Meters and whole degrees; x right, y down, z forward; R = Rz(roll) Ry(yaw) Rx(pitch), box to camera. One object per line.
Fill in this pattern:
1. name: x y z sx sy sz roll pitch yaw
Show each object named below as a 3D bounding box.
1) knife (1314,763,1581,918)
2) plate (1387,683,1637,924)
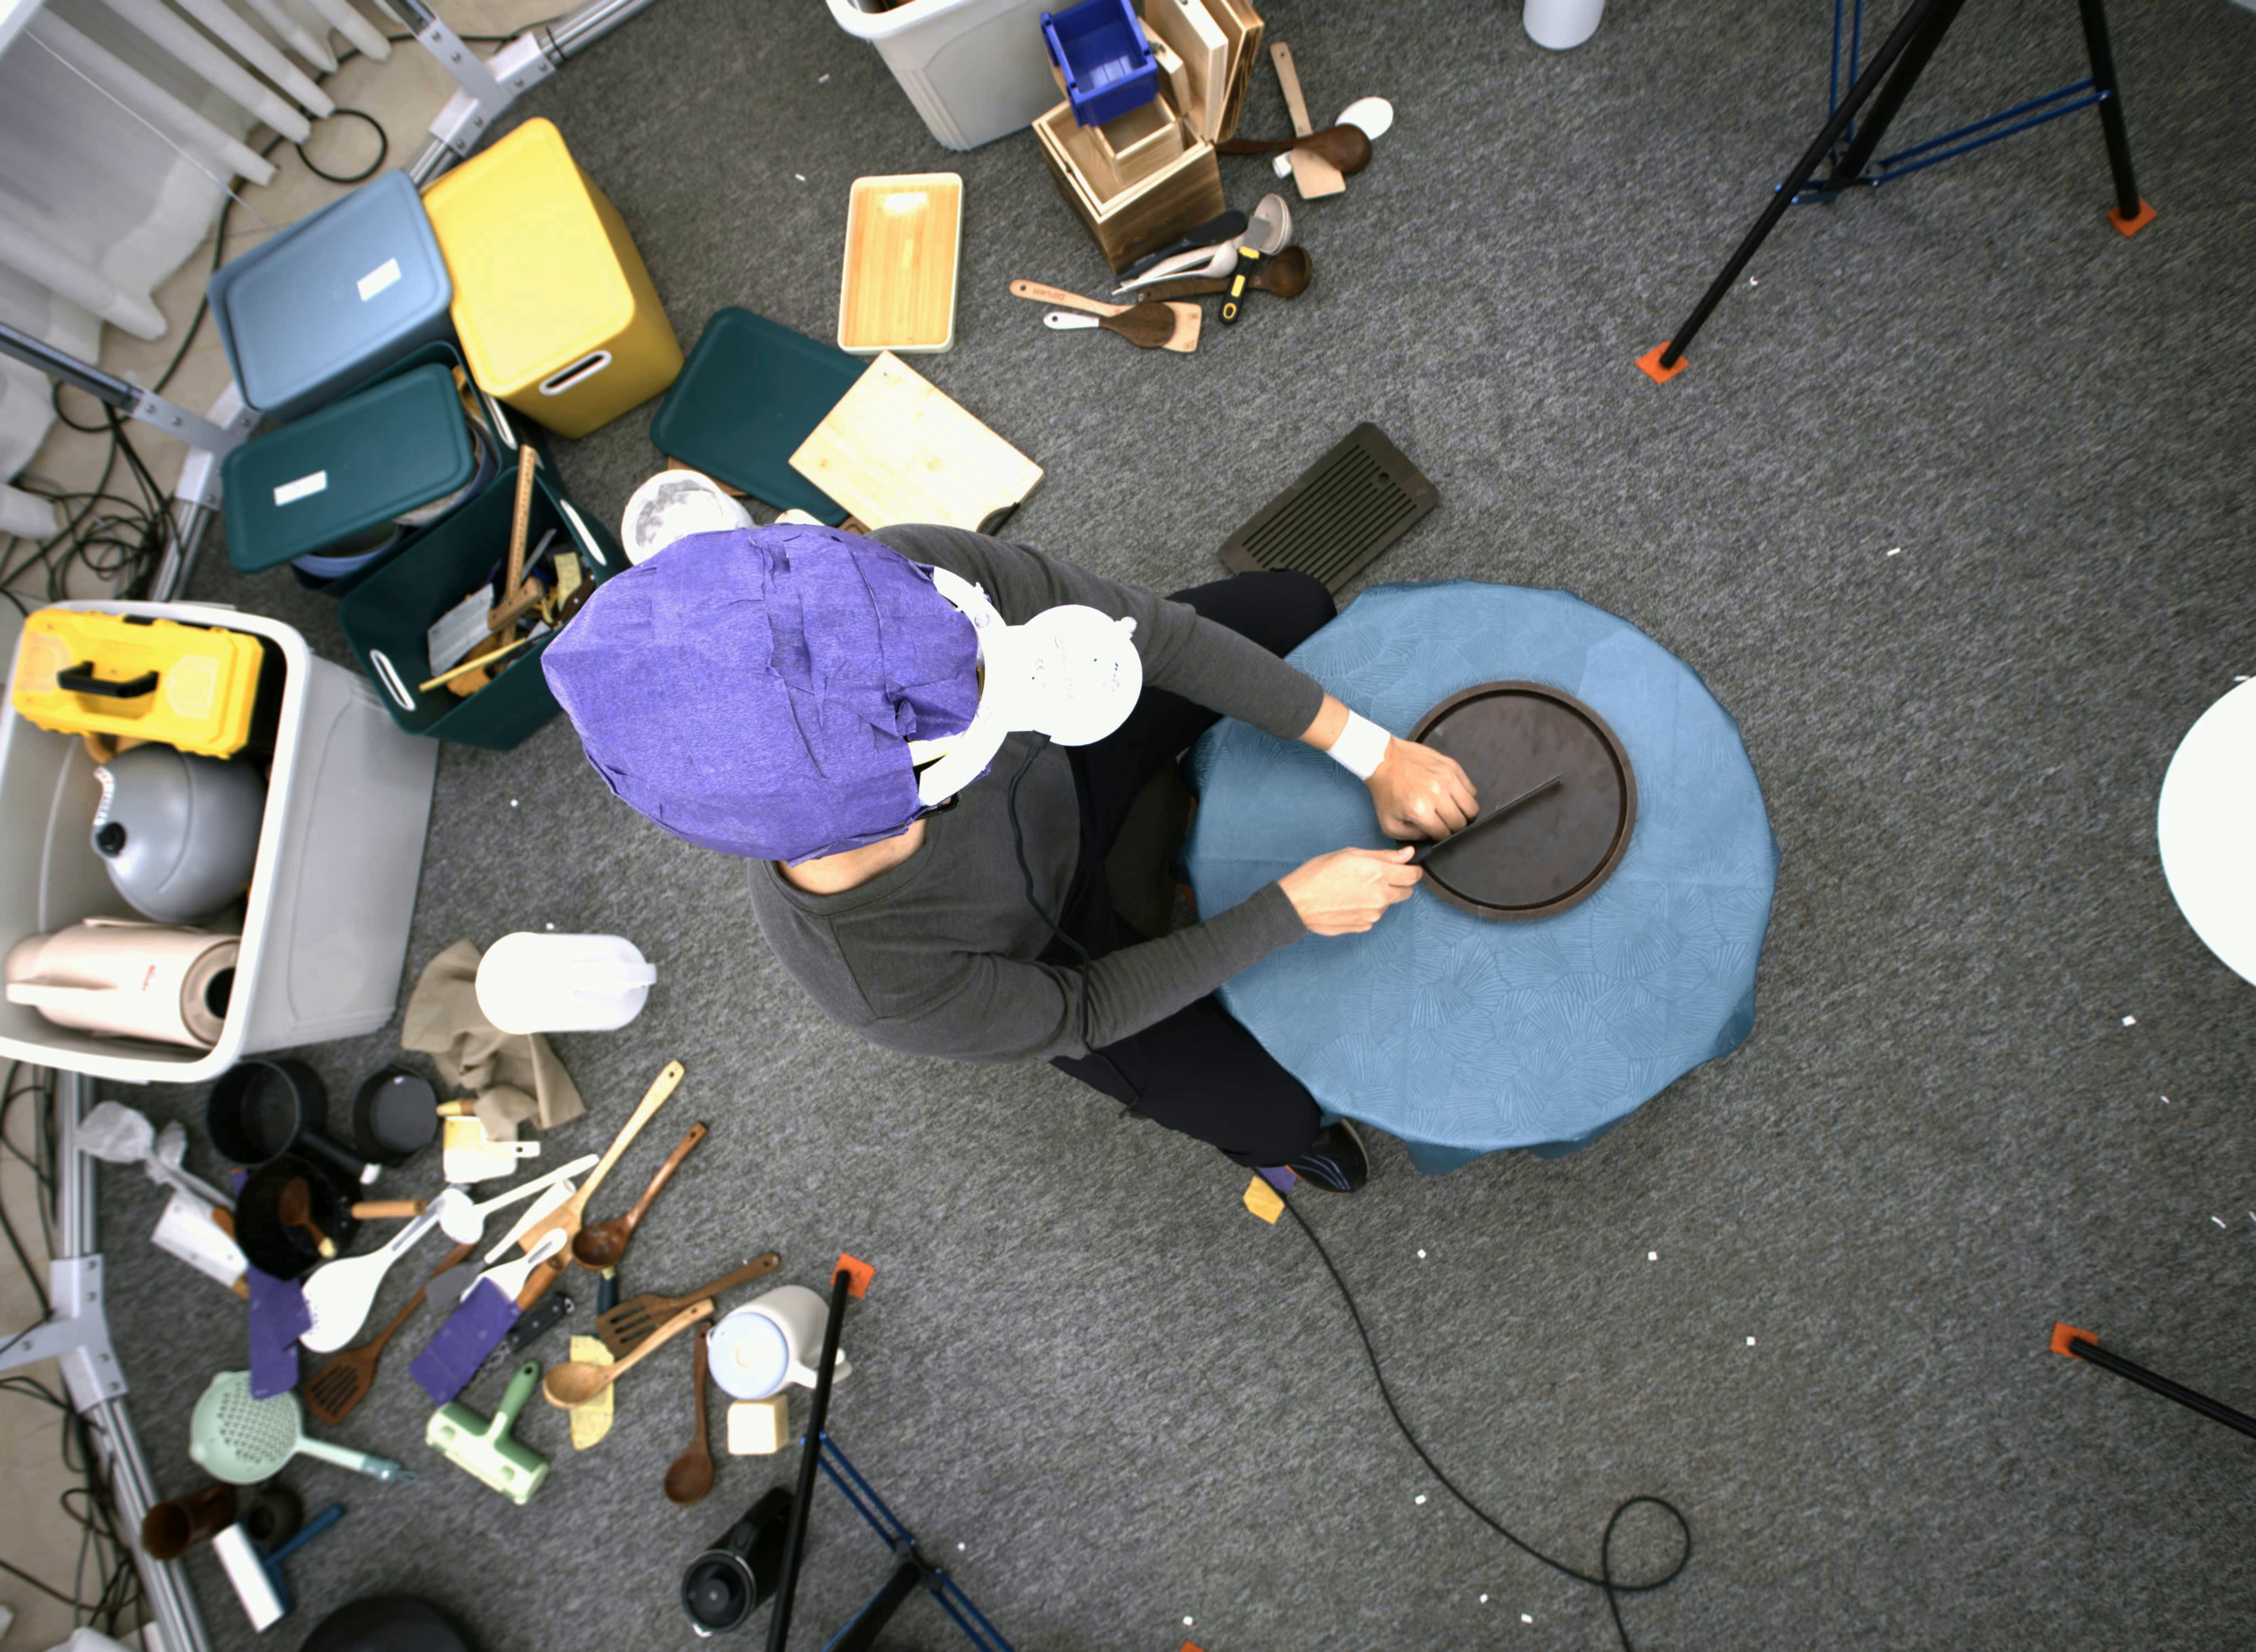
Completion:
1. knife: 0.323 0.012 1.393 0.303 0.081 0.021 -29 80 3
2. plate: 0.398 -0.027 1.430 0.256 0.029 0.254 -1 88 10
